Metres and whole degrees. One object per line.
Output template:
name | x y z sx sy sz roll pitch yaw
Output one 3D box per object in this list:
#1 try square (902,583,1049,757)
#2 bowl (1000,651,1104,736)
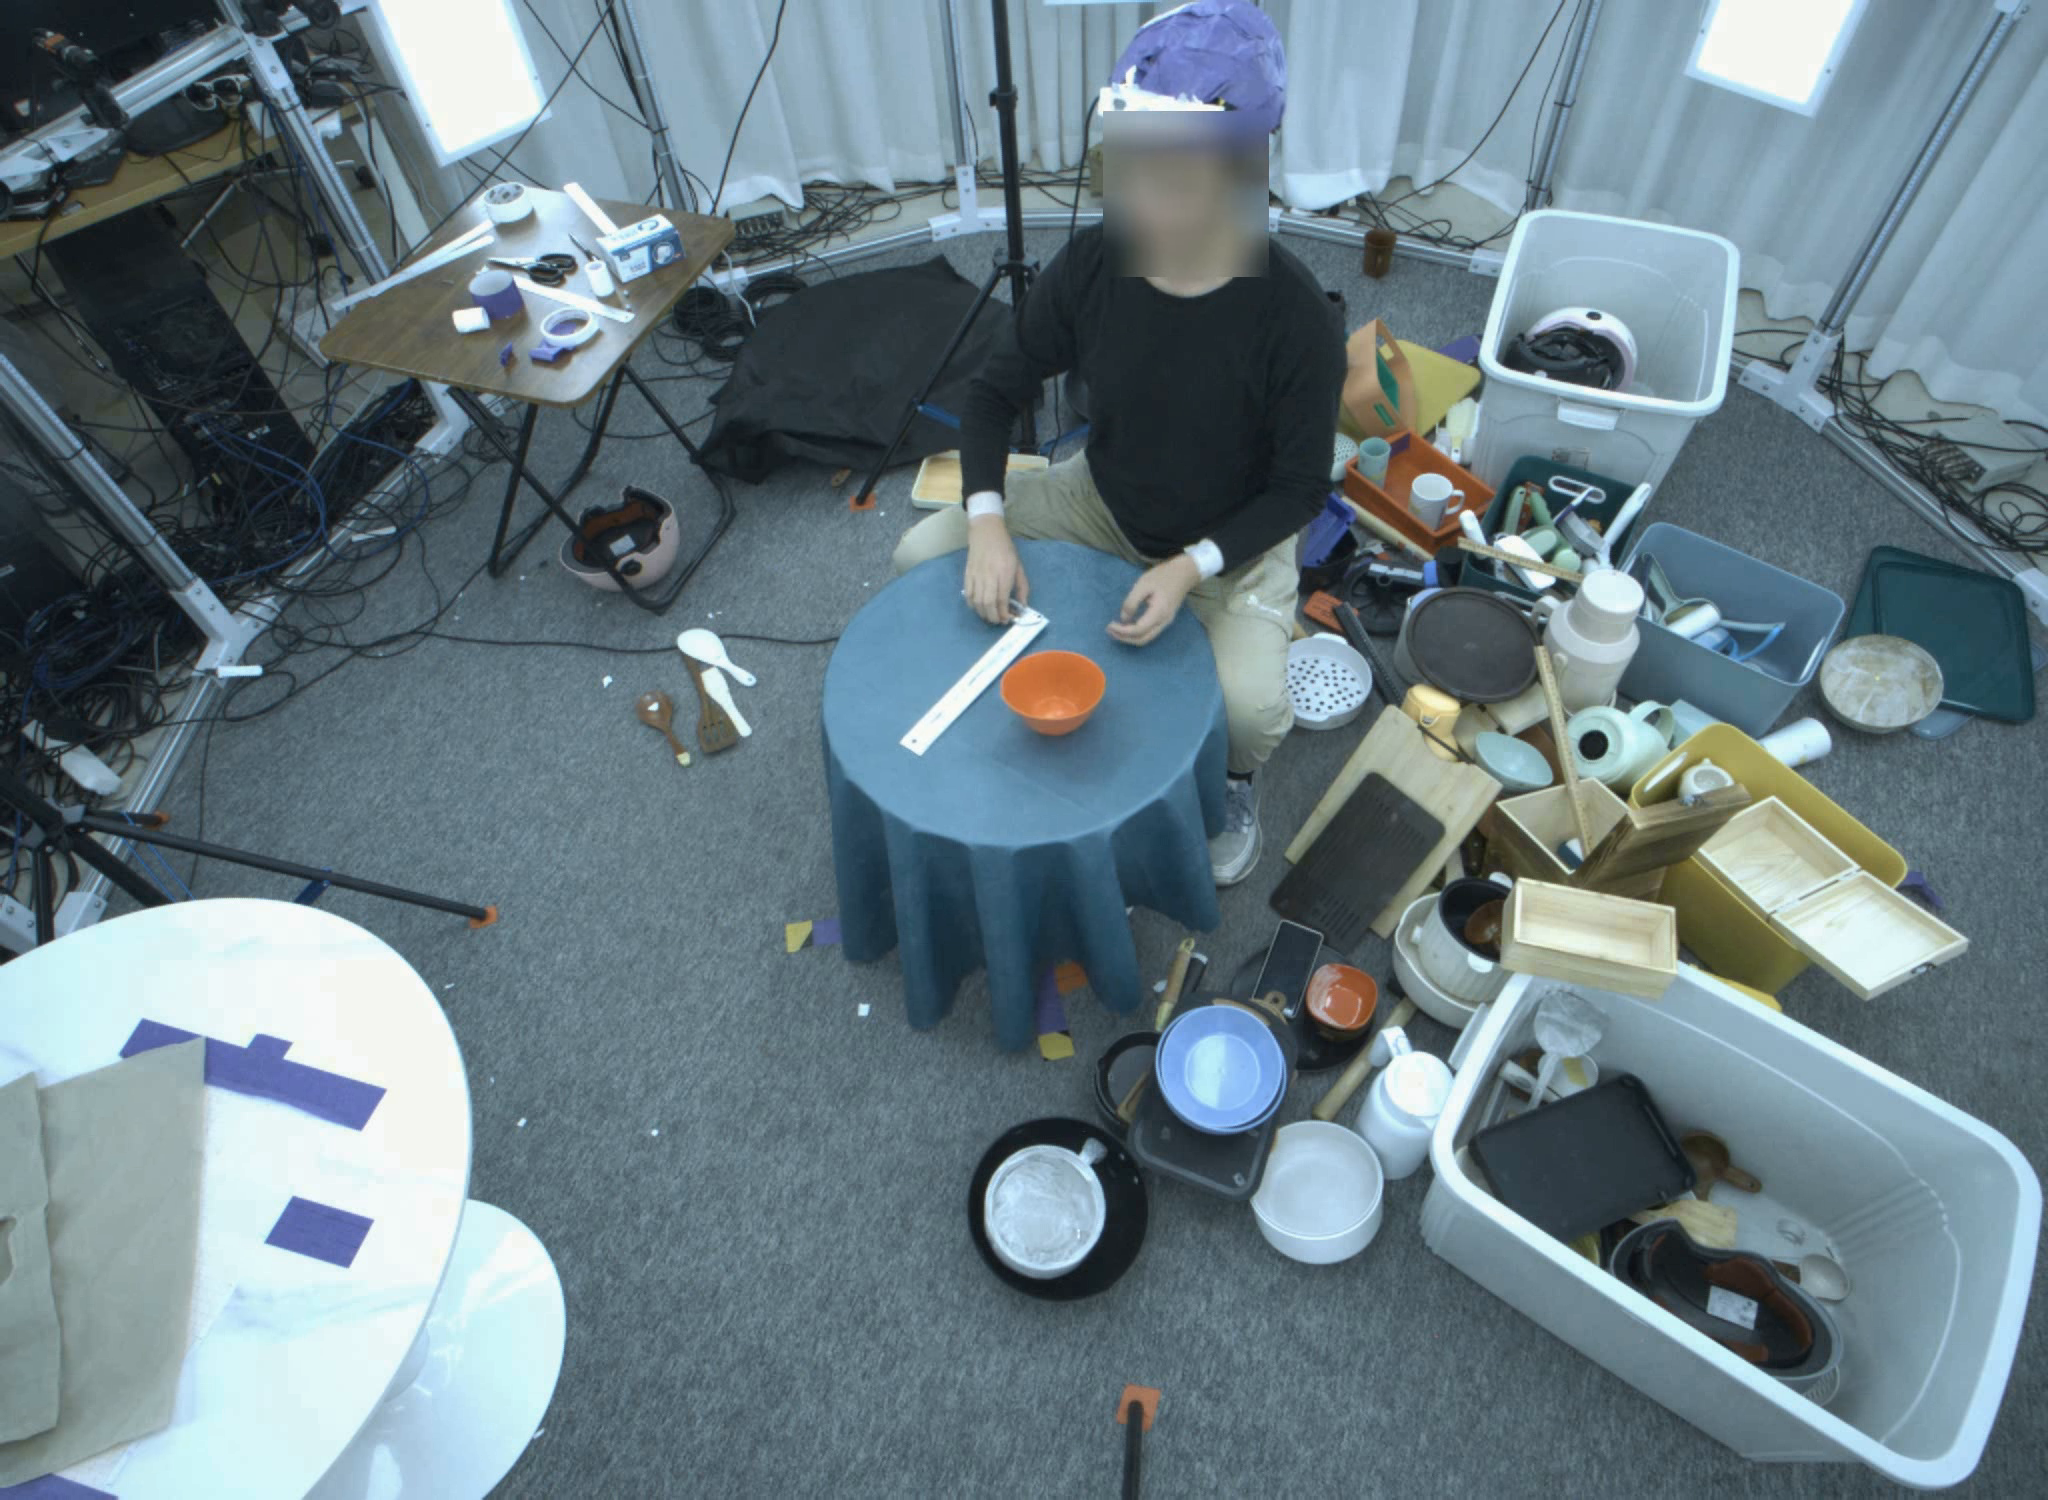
try square | -0.113 -0.129 1.879 0.149 0.016 0.314 29 63 25
bowl | 0.042 -0.068 1.773 0.148 0.106 0.146 -1 54 3
